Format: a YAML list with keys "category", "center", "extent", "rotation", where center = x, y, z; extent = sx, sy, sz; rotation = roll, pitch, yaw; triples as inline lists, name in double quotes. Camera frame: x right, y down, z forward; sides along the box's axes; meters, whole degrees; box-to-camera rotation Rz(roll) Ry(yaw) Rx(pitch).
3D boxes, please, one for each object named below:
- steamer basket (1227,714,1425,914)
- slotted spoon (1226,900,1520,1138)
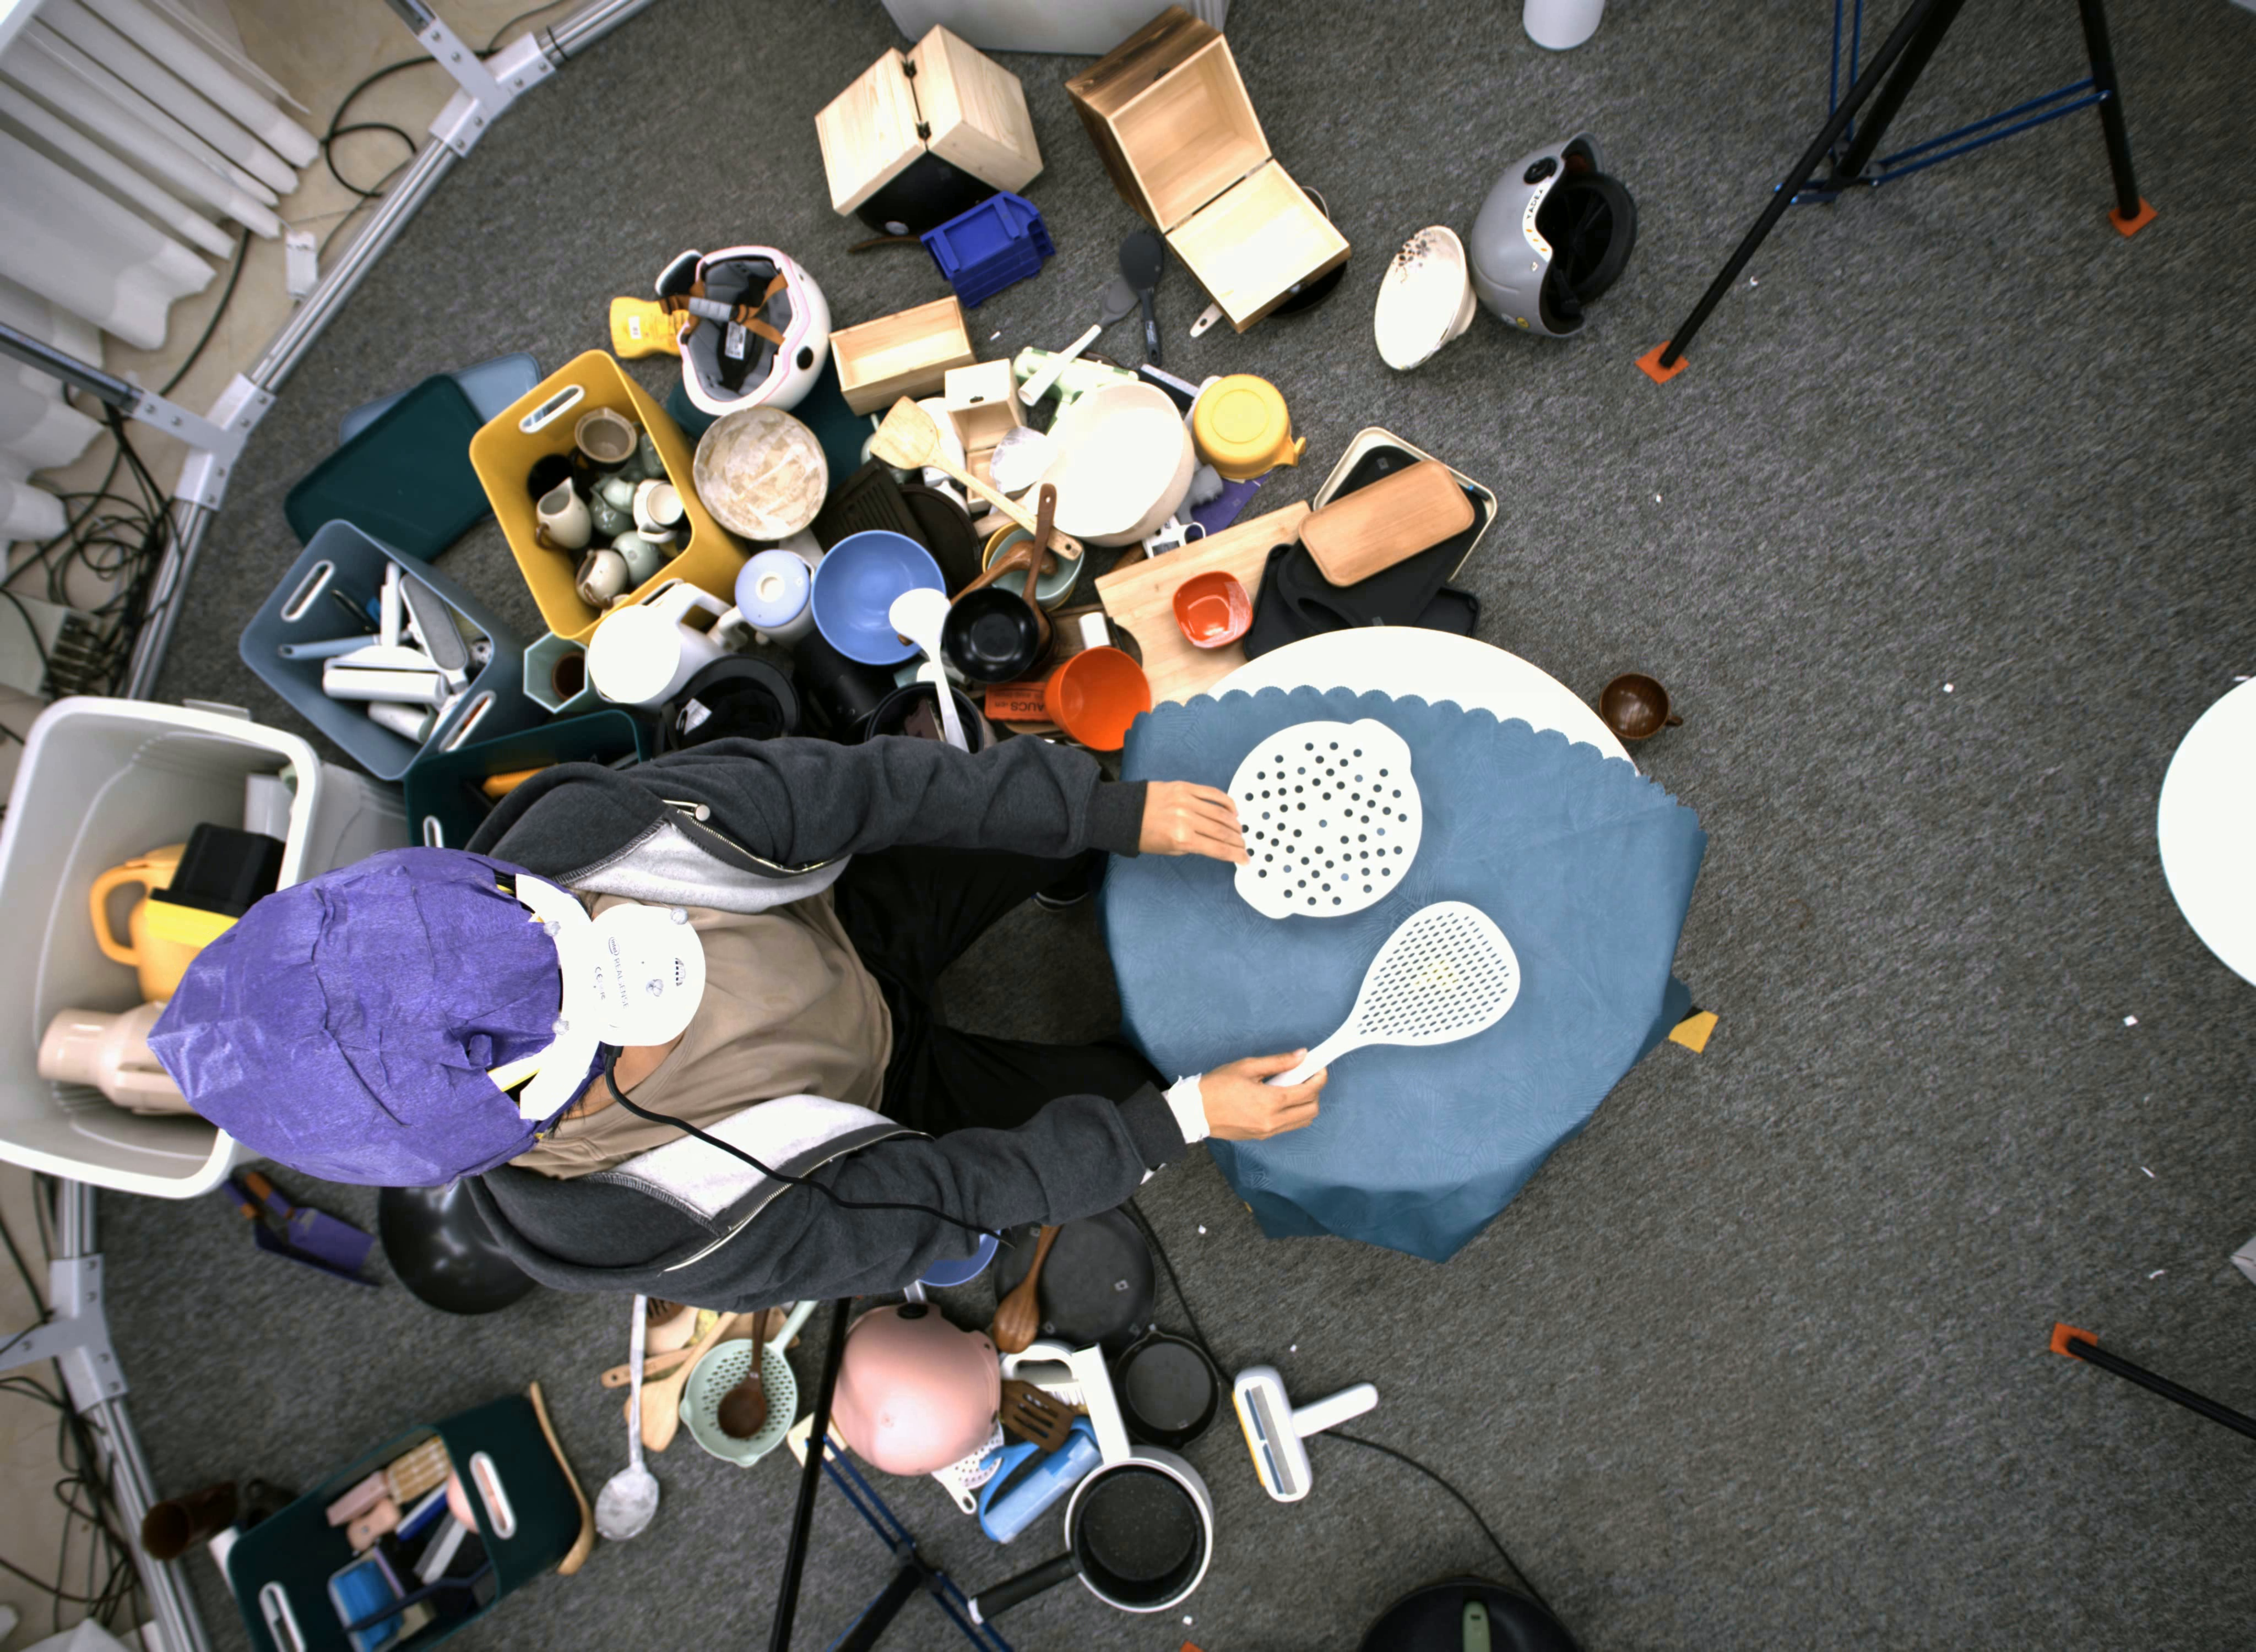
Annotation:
- category: "steamer basket"
  center: [0.206, -0.011, 1.440]
  extent: [0.201, 0.069, 0.231]
  rotation: [38, 92, 9]
- category: "slotted spoon"
  center: [0.238, 0.209, 1.419]
  extent: [0.349, 0.050, 0.136]
  rotation: [-36, 81, 3]
